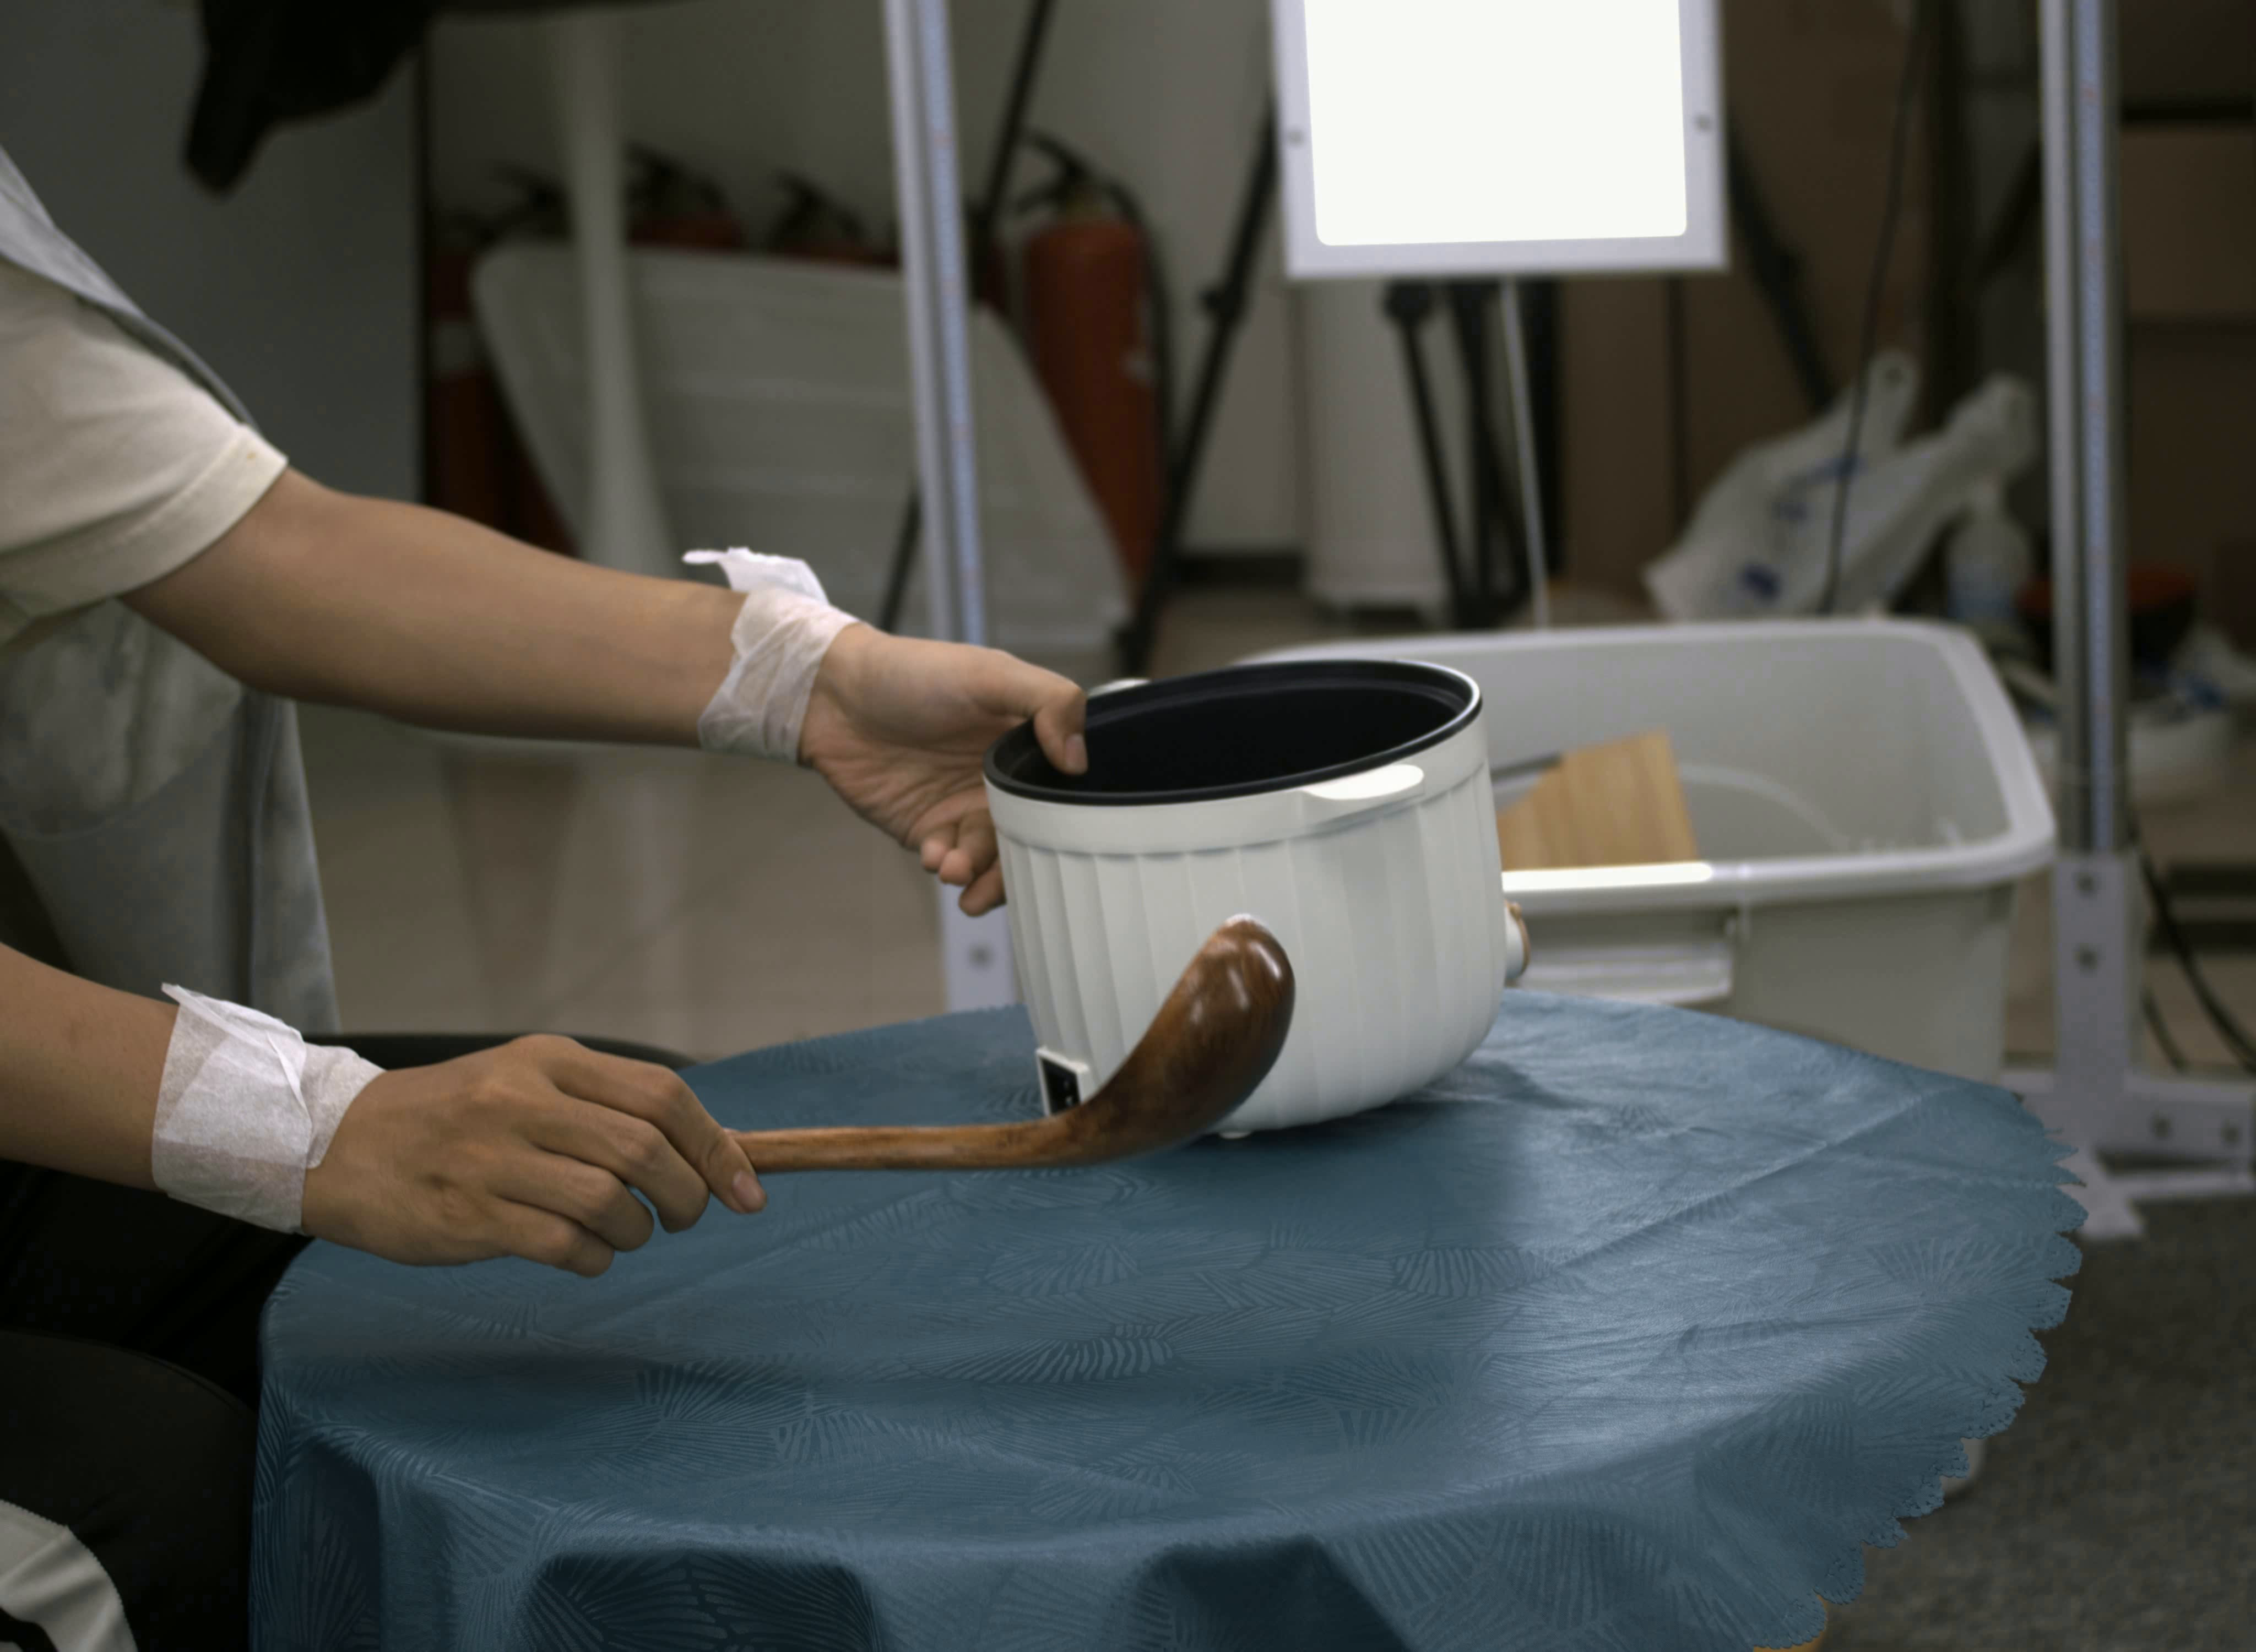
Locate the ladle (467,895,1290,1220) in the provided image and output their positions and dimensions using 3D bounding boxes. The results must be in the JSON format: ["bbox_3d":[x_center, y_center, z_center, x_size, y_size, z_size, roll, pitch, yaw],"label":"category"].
[{"bbox_3d":[-0.082,0.073,1.749,0.277,0.076,0.081,-6,-16,15],"label":"ladle"}]

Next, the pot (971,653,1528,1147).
[{"bbox_3d":[0.050,0.025,1.984,0.187,0.143,0.244,-19,18,-22],"label":"pot"}]
